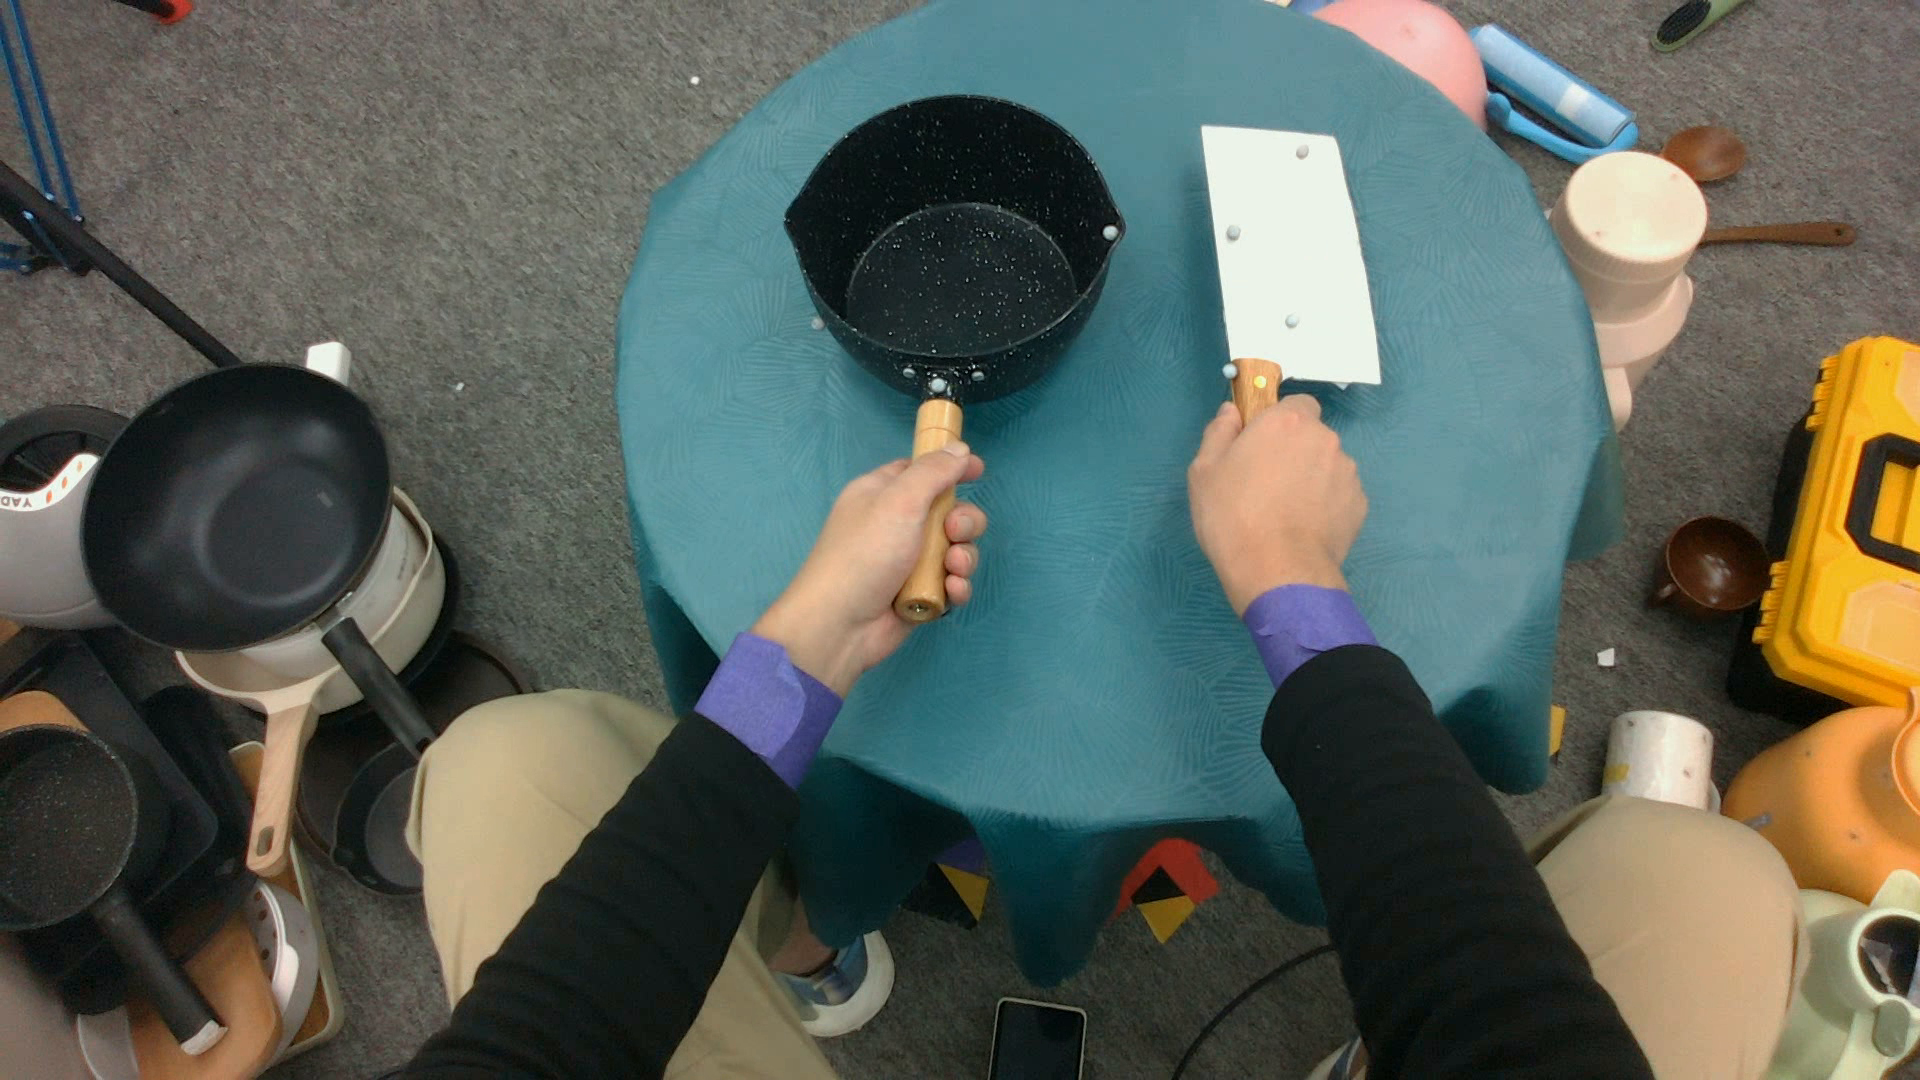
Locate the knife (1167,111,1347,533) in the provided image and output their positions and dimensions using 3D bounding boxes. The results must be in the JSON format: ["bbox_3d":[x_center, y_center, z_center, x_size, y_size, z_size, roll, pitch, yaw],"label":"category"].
[{"bbox_3d":[0.180,-0.140,0.814,0.093,0.021,0.307,2,62,-9],"label":"knife"}]

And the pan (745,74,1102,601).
[{"bbox_3d":[-0.023,-0.111,0.790,0.207,0.108,0.344,1,66,3],"label":"pan"}]
